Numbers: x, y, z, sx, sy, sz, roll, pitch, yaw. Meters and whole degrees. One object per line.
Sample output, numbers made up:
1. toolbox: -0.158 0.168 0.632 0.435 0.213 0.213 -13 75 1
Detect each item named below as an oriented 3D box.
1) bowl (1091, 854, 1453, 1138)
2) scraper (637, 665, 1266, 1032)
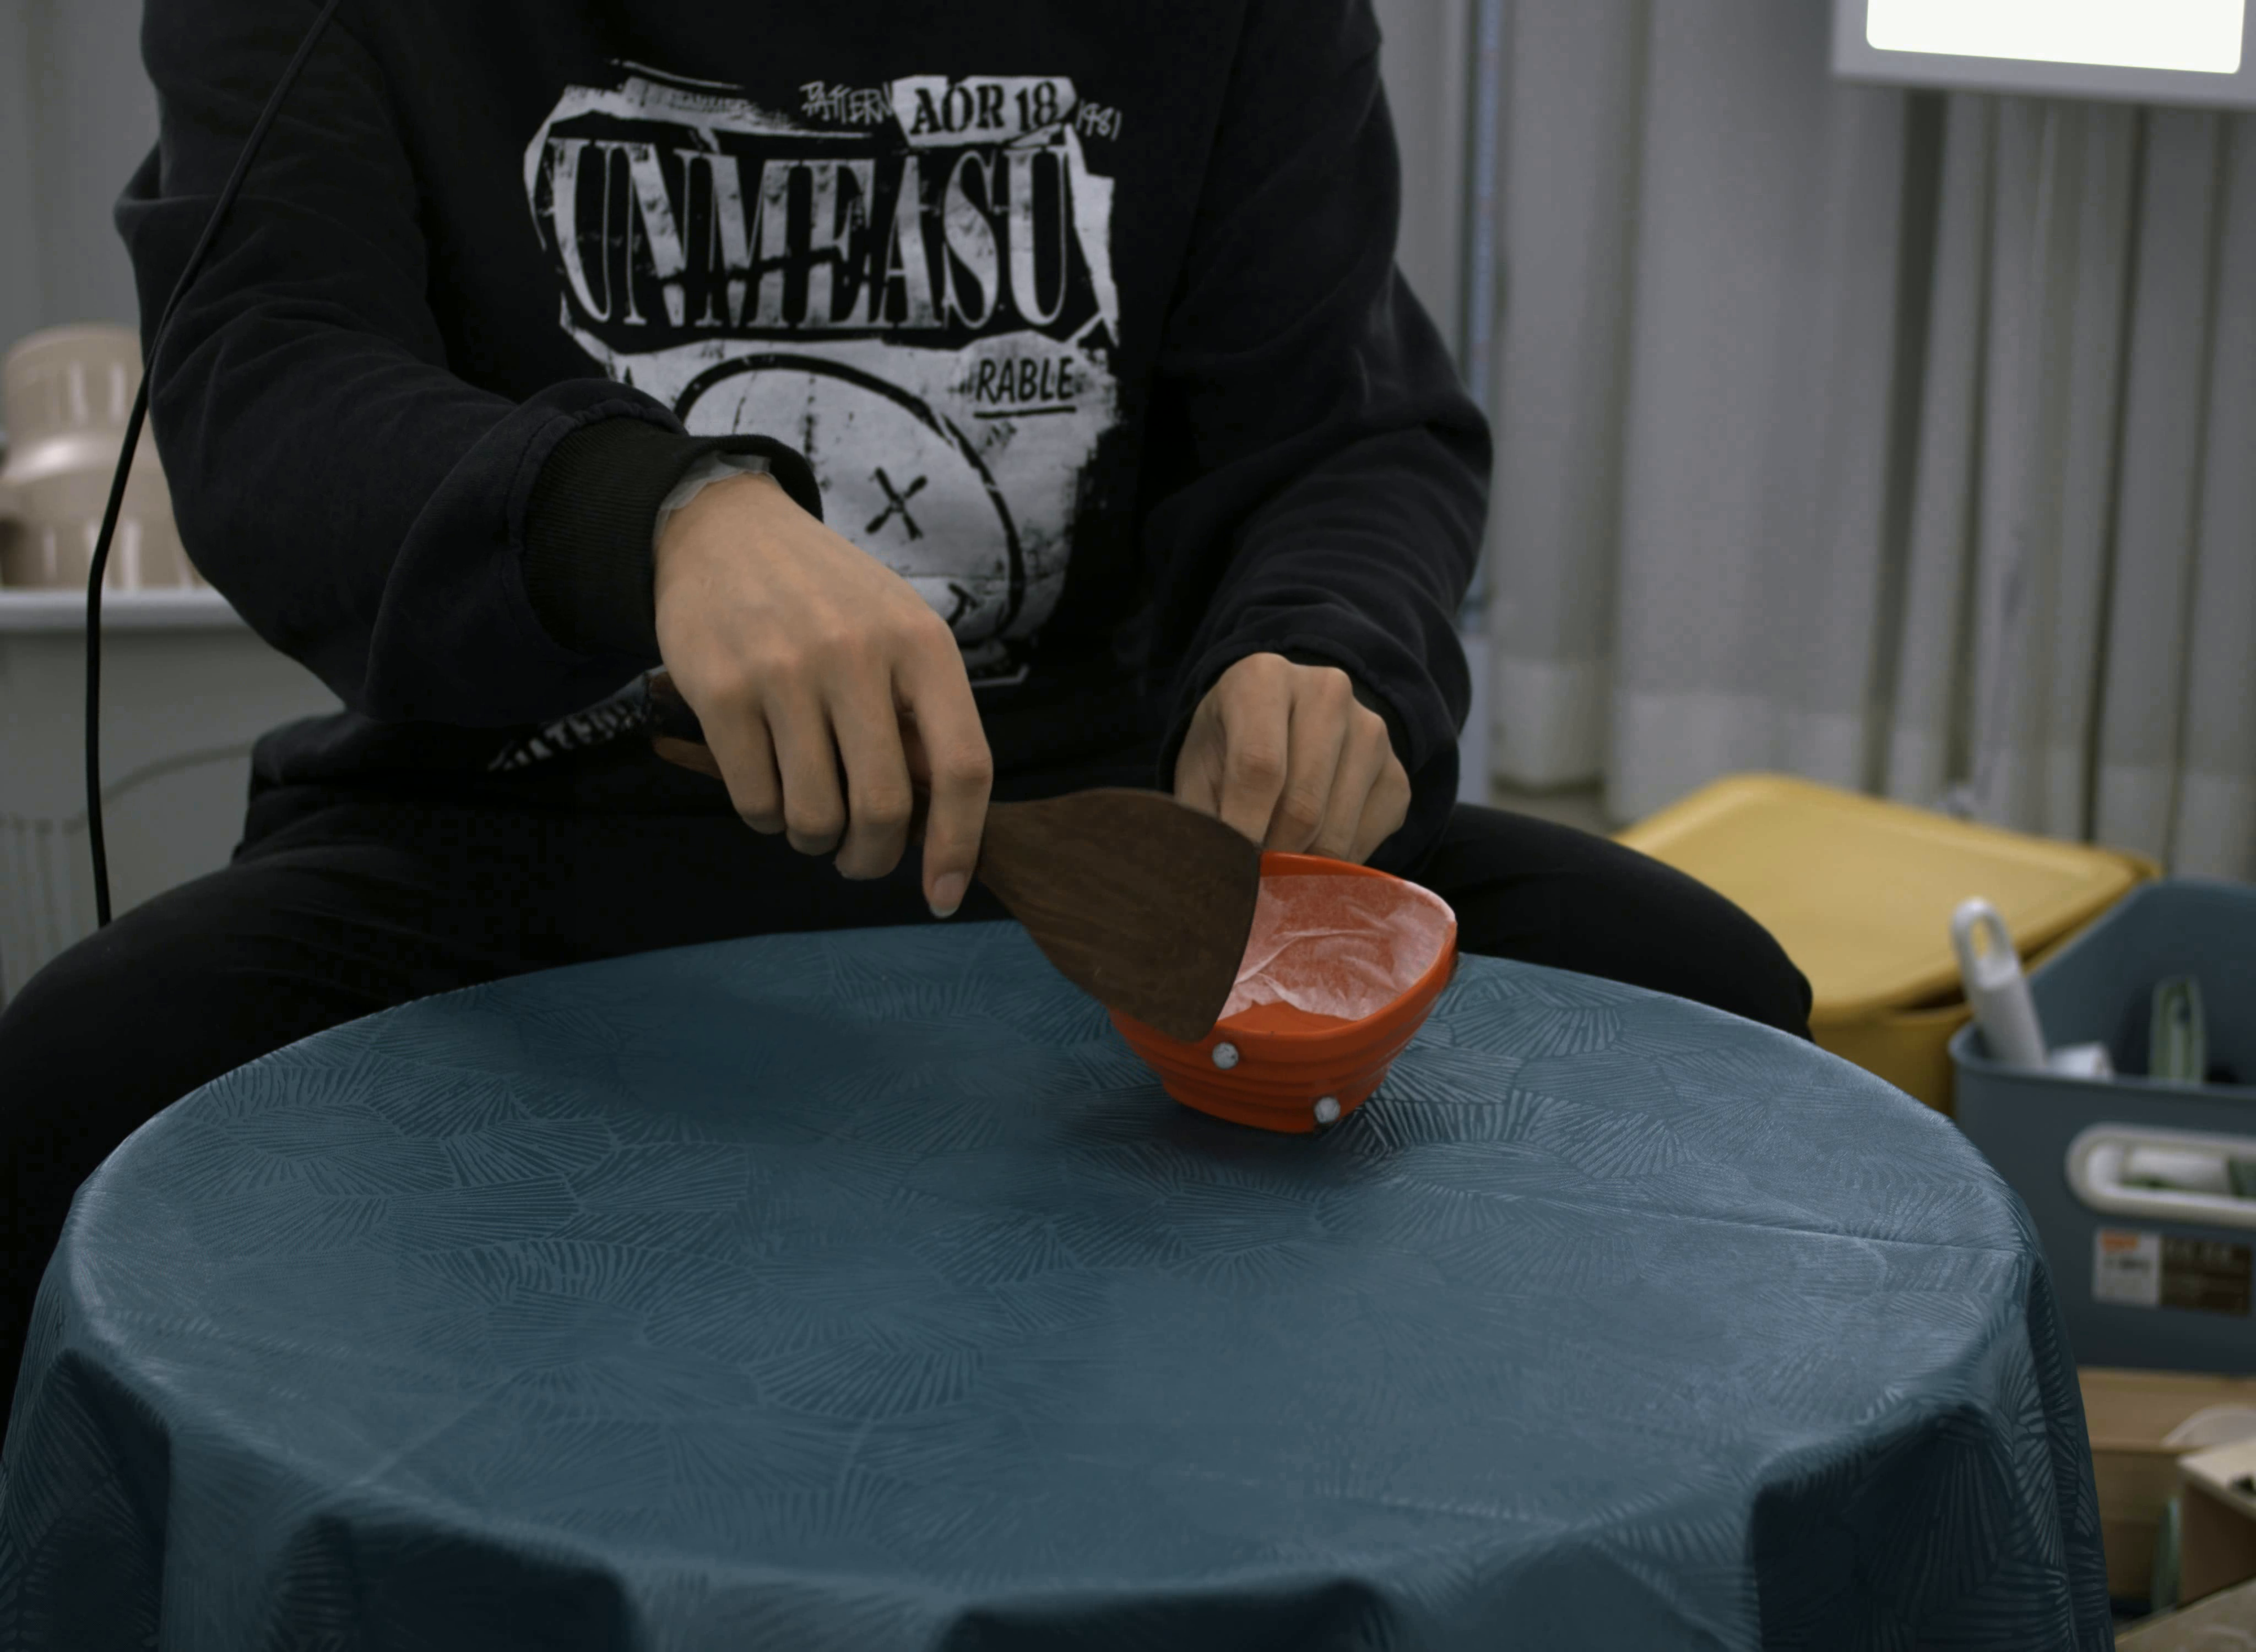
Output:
1. bowl: 0.048 0.059 1.696 0.118 0.052 0.118 -2 31 2
2. scraper: -0.057 -0.004 1.633 0.210 0.076 0.011 21 20 12
